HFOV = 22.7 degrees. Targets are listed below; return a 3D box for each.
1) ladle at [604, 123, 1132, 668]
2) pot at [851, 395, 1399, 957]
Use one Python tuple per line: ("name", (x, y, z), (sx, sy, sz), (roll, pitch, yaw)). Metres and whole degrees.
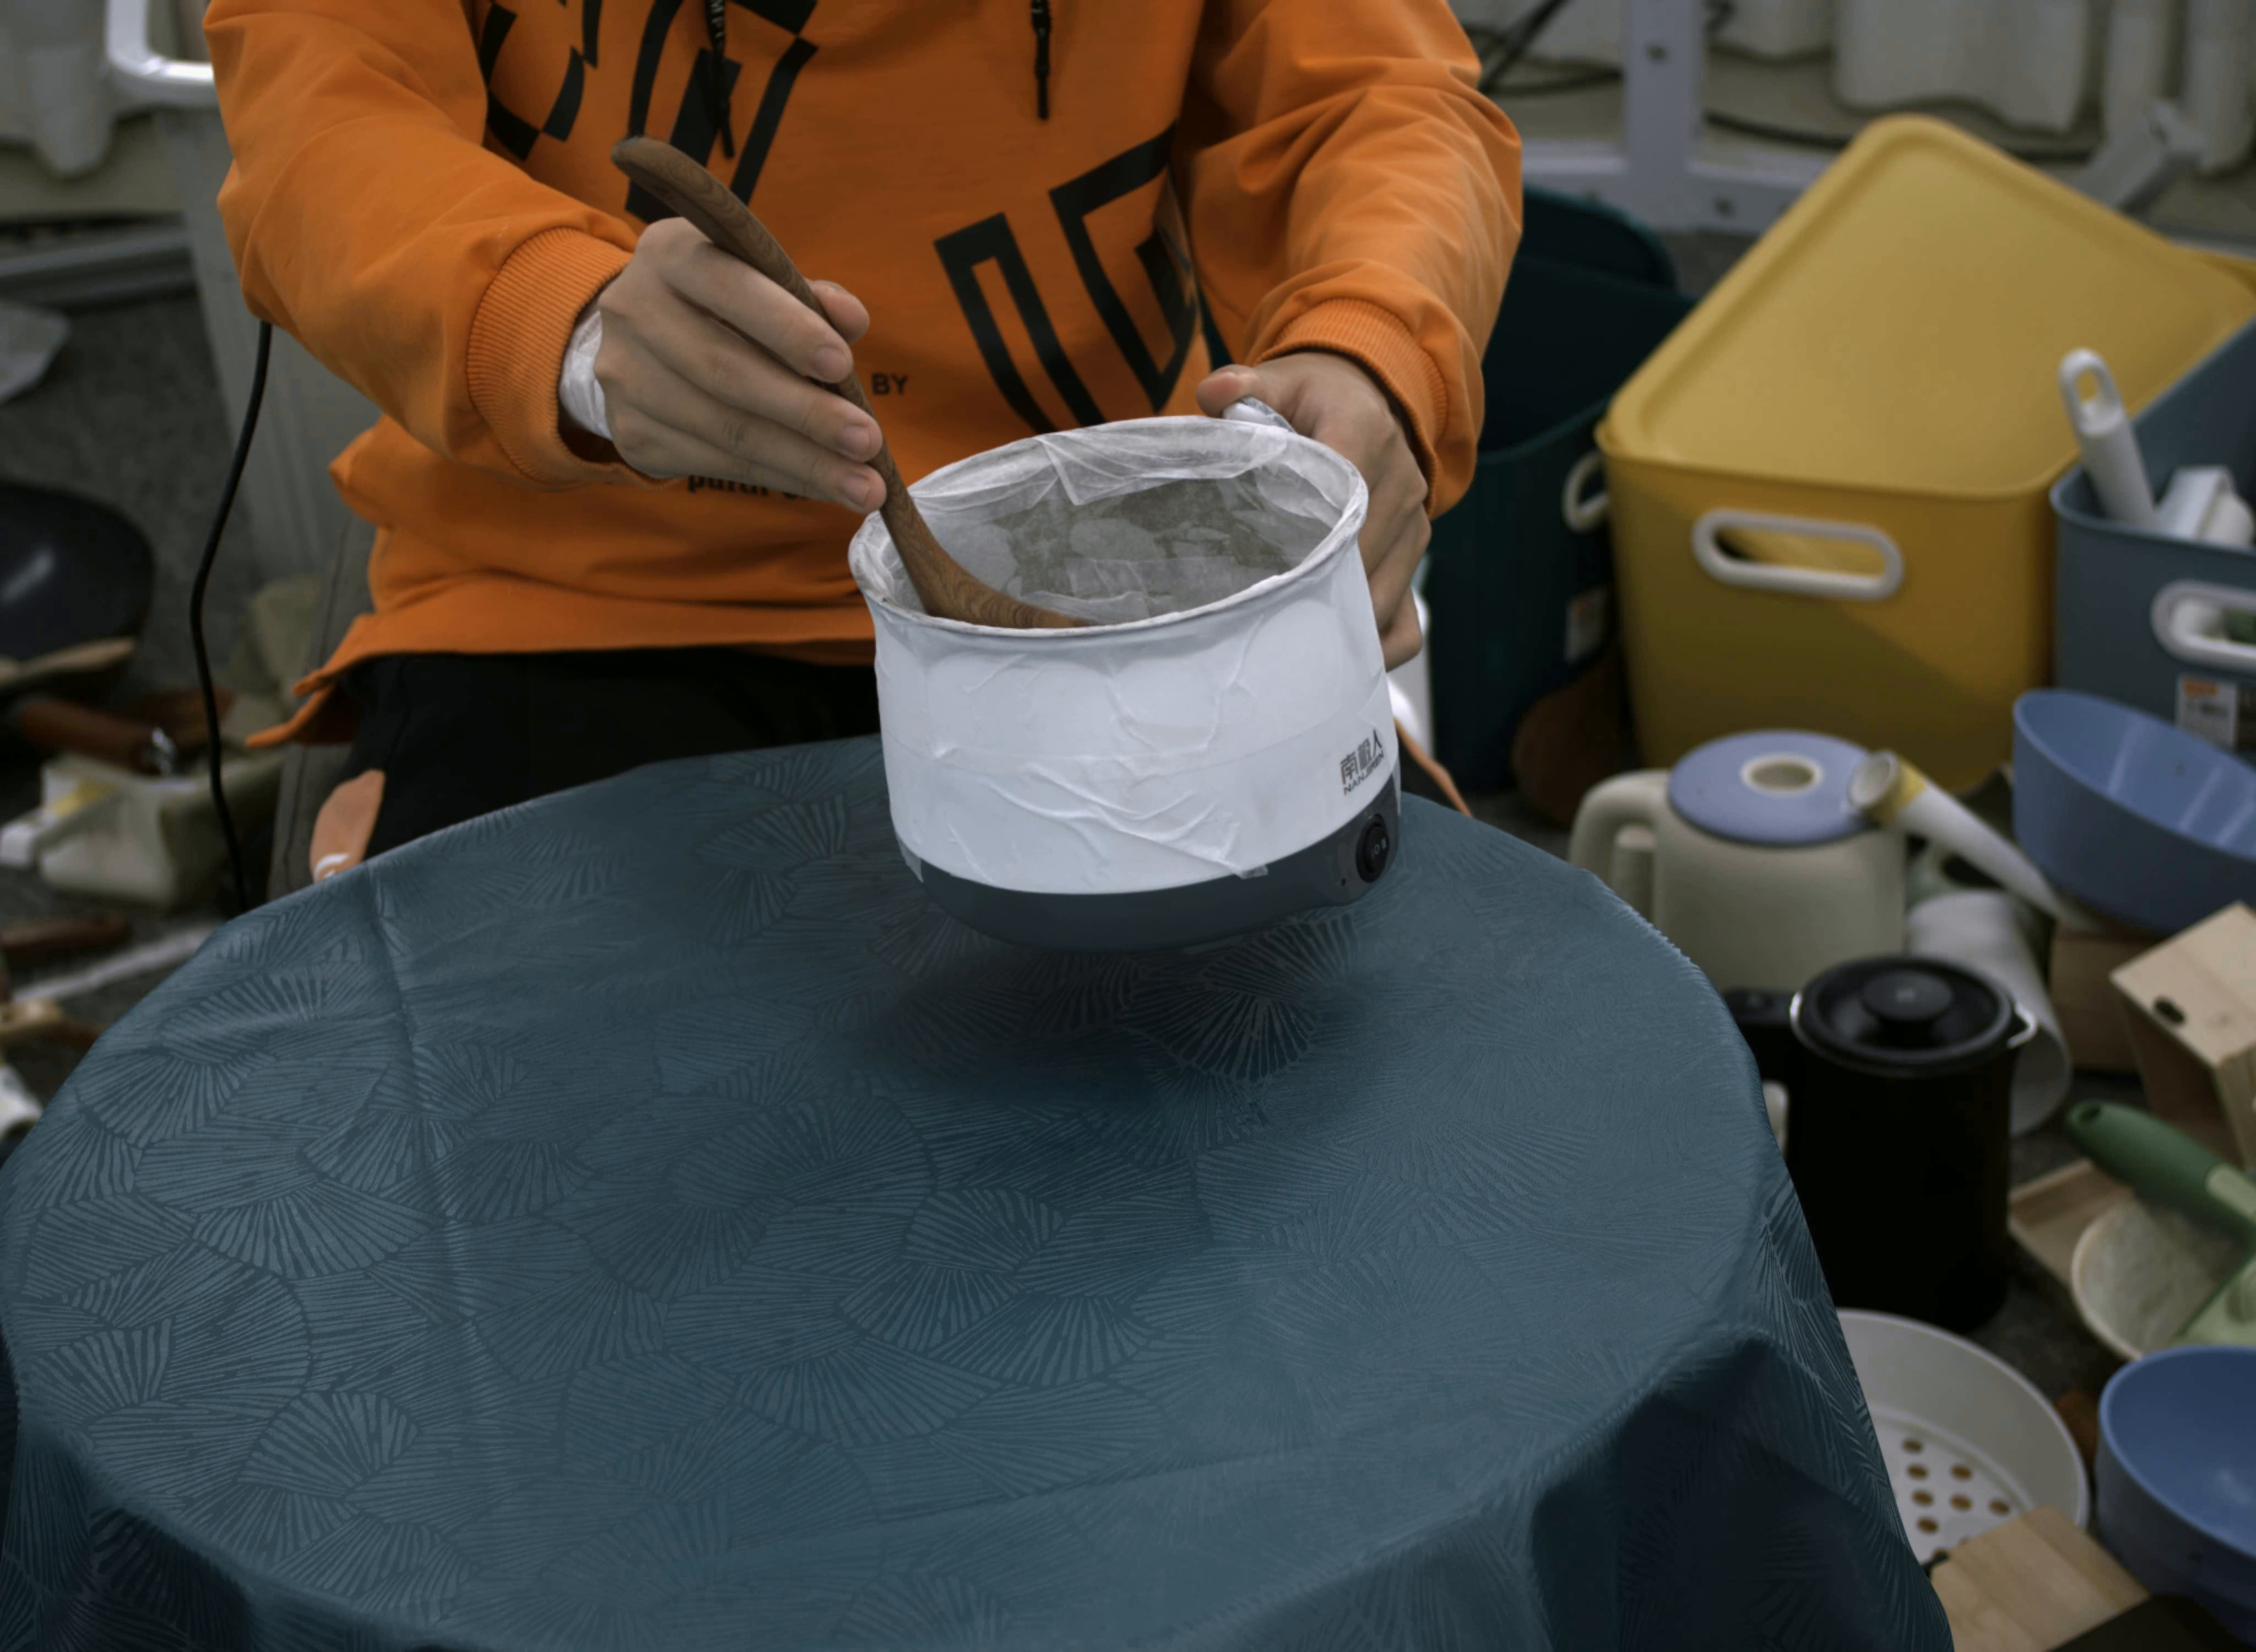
("ladle", (-0.074, -0.138, 1.861), (0.066, 0.259, 0.076), (-40, 10, -23))
("pot", (0.014, -0.058, 1.946), (0.177, 0.135, 0.237), (6, 29, 27))
